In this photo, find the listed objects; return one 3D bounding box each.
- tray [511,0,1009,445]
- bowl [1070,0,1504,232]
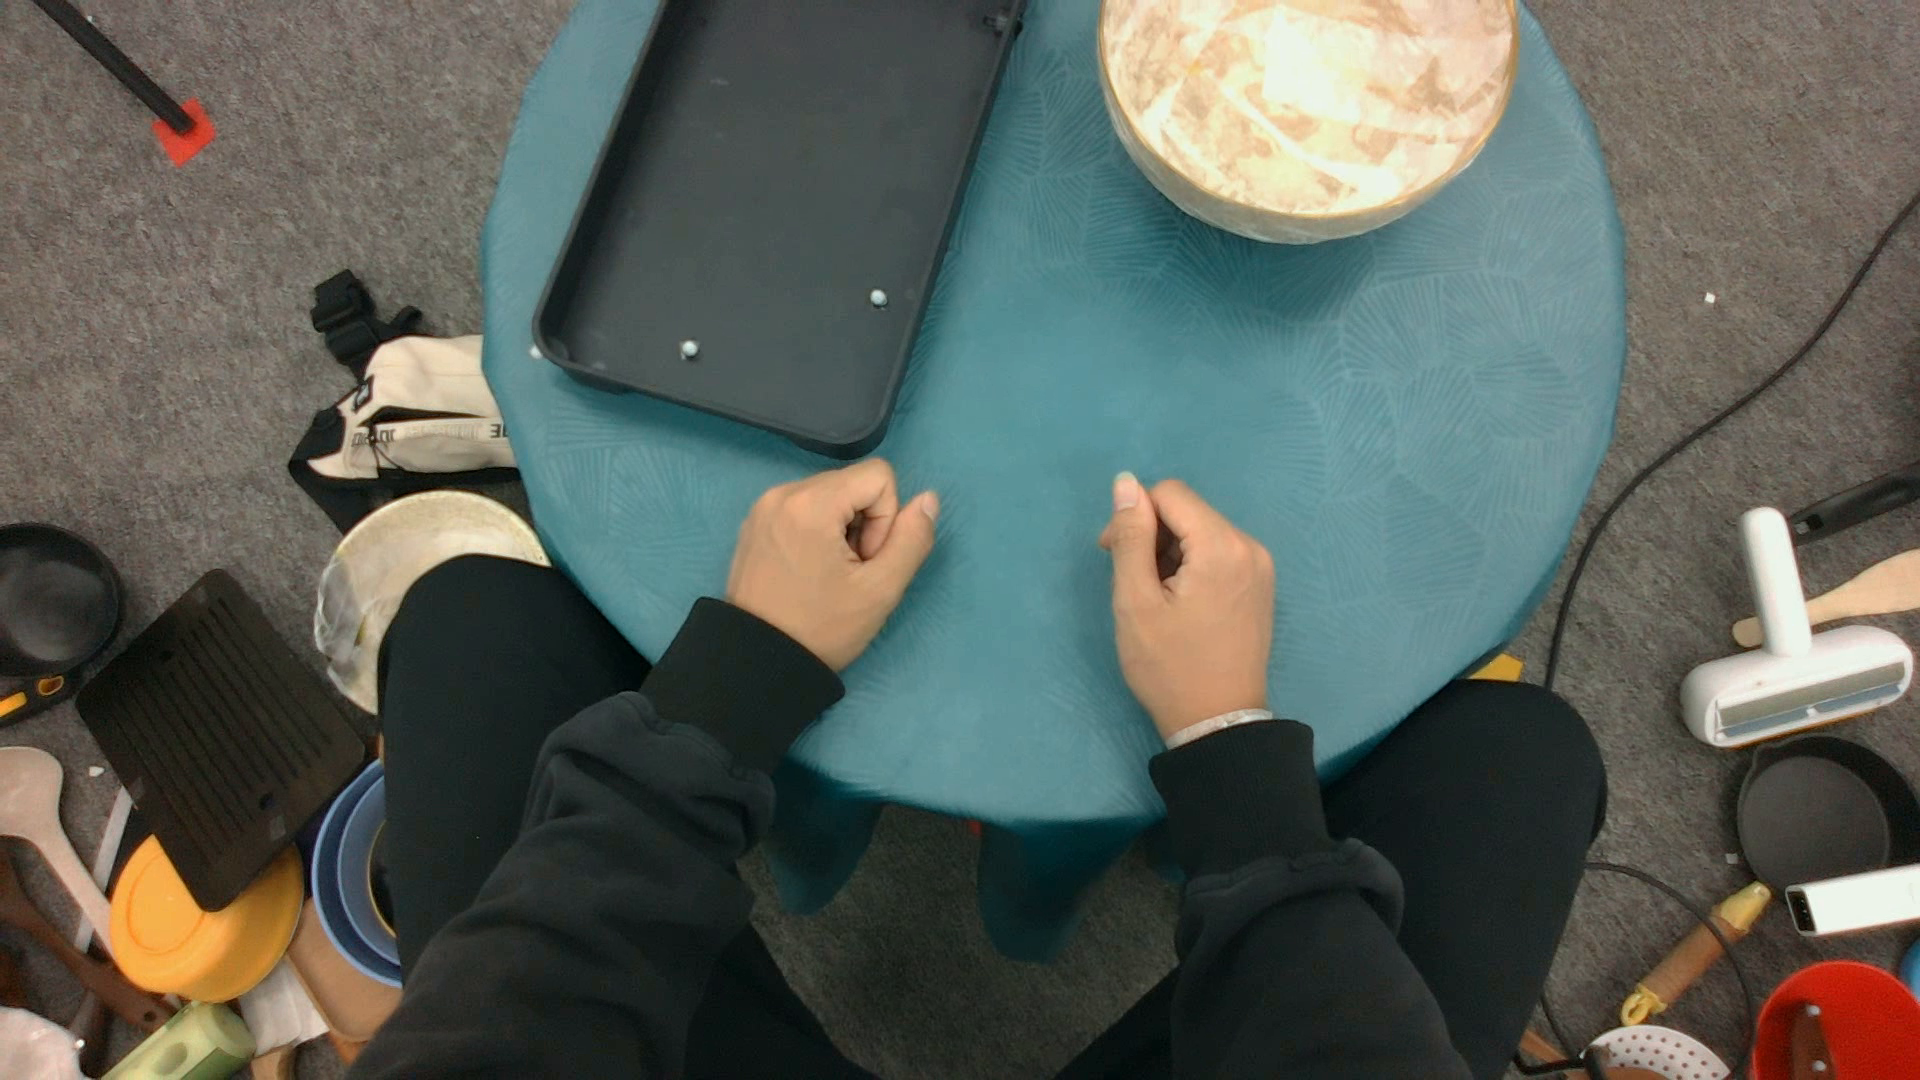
[{"bbox_3d":[-0.093,-0.218,0.723,0.184,0.037,0.318,17,77,3],"label":"tray"},{"bbox_3d":[0.154,-0.237,0.701,0.215,0.094,0.215,0,75,-1],"label":"bowl"}]
